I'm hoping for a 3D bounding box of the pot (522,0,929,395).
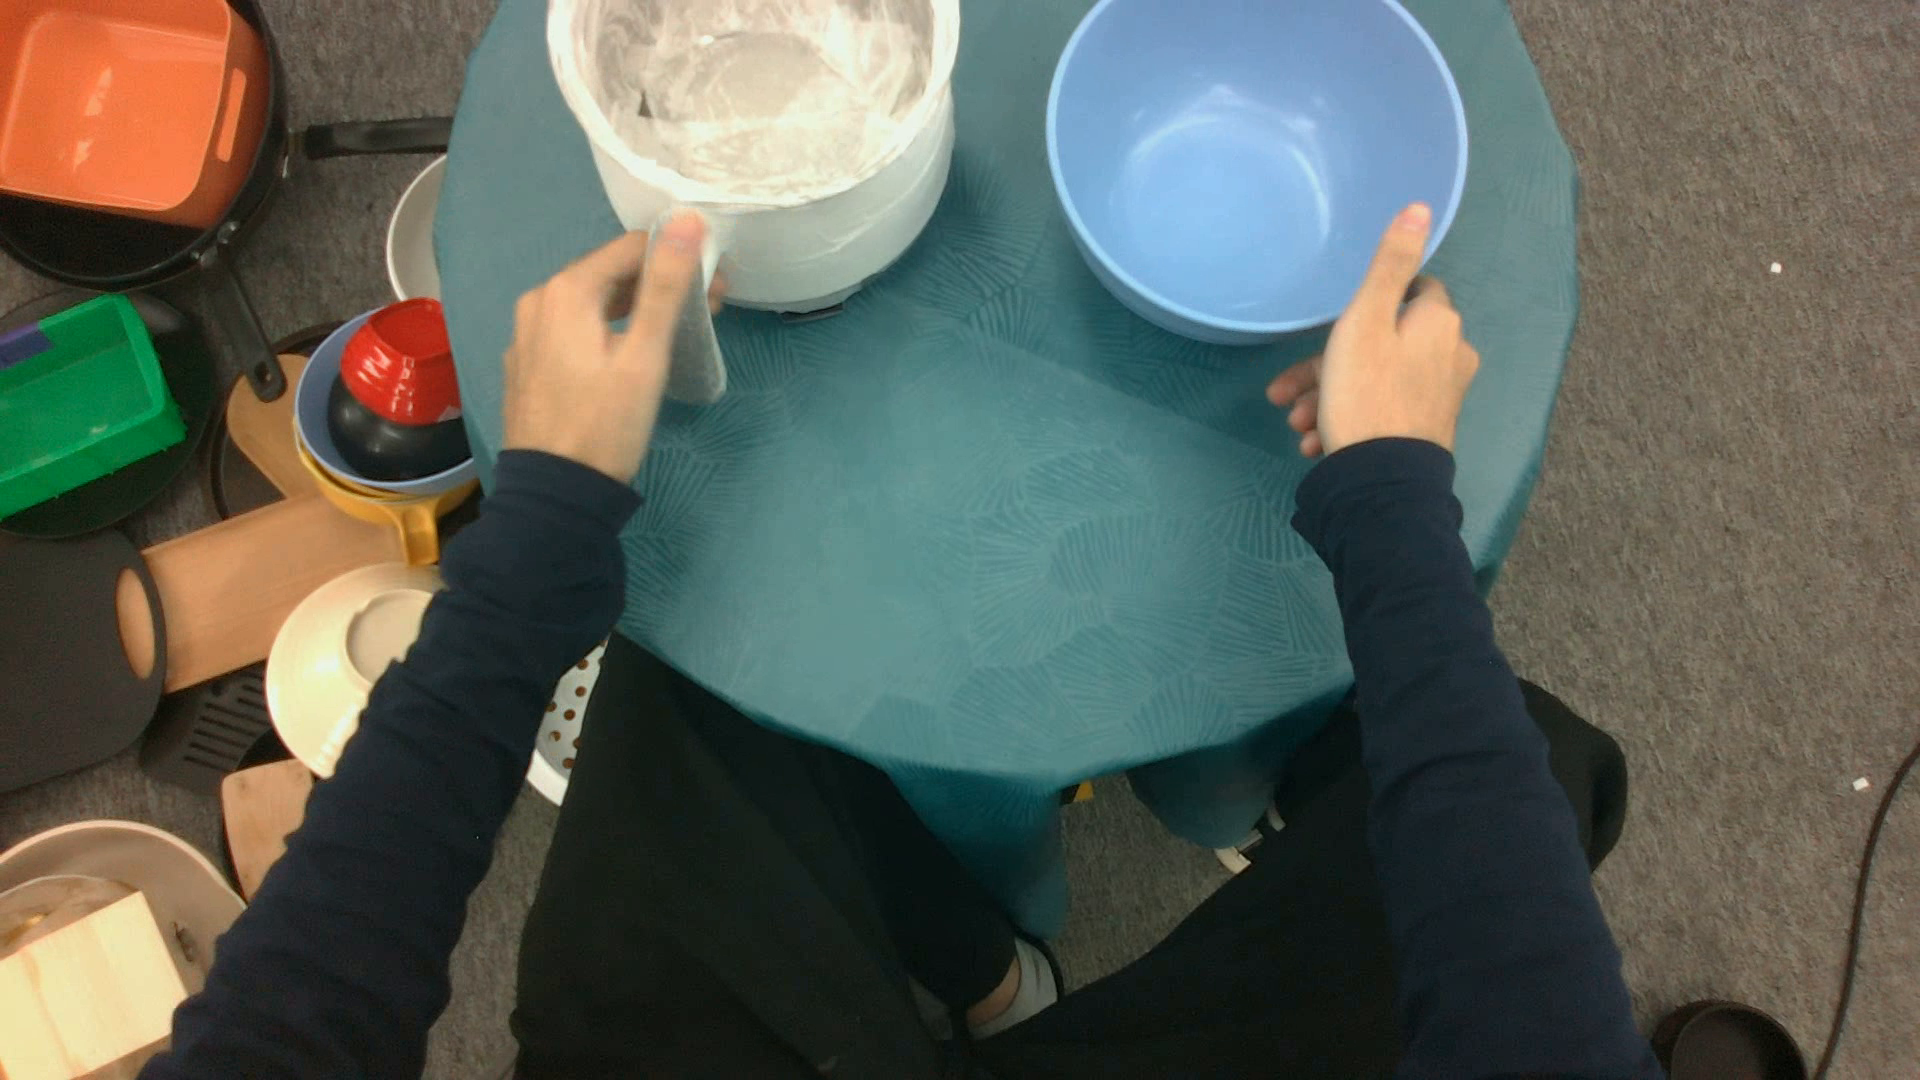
[{"bbox_3d":[-0.110,-0.189,0.656,0.179,0.136,0.234,15,76,2],"label":"pot"}]

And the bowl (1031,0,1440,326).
[{"bbox_3d":[0.125,-0.187,0.685,0.196,0.095,0.197,2,74,-7],"label":"bowl"}]
